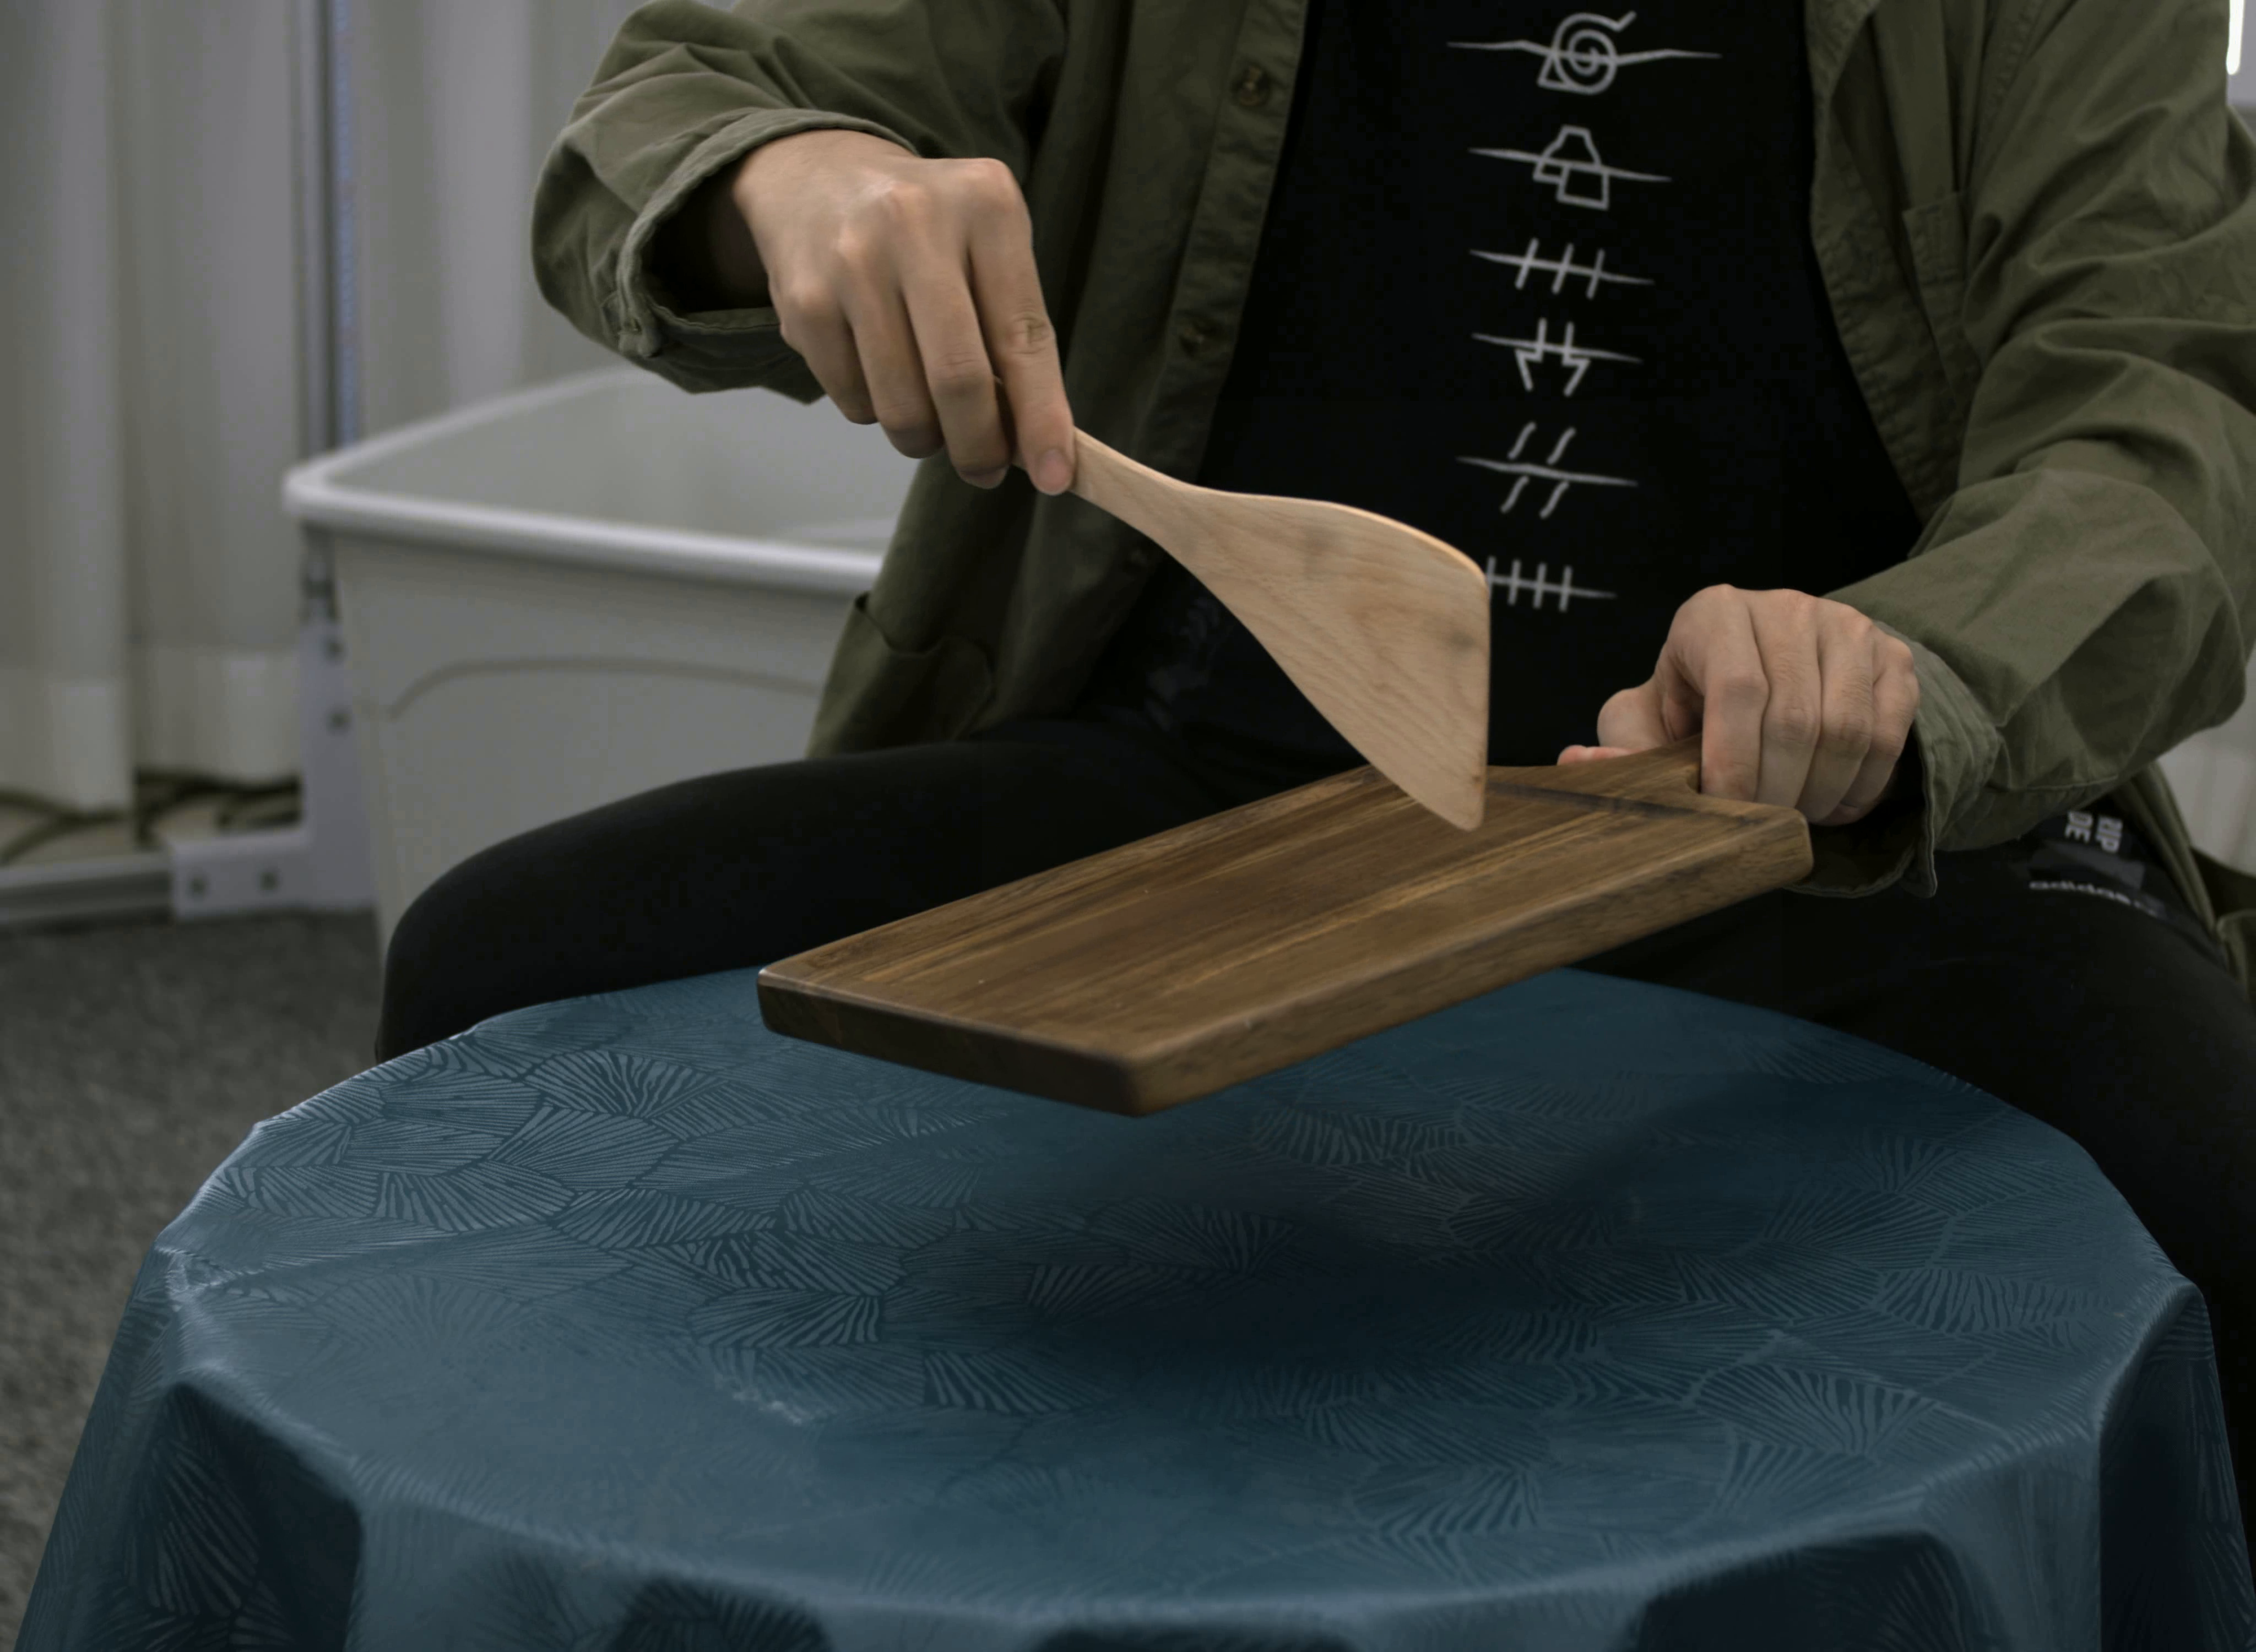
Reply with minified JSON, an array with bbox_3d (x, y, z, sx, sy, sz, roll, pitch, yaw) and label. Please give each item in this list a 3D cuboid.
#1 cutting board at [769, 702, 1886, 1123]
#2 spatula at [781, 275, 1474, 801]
[{"bbox_3d":[0.089,0.016,1.546,0.353,0.023,0.198,-17,15,-32],"label":"cutting board"},{"bbox_3d":[-0.004,-0.104,1.578,0.016,0.081,0.323,-18,36,-39],"label":"spatula"}]
